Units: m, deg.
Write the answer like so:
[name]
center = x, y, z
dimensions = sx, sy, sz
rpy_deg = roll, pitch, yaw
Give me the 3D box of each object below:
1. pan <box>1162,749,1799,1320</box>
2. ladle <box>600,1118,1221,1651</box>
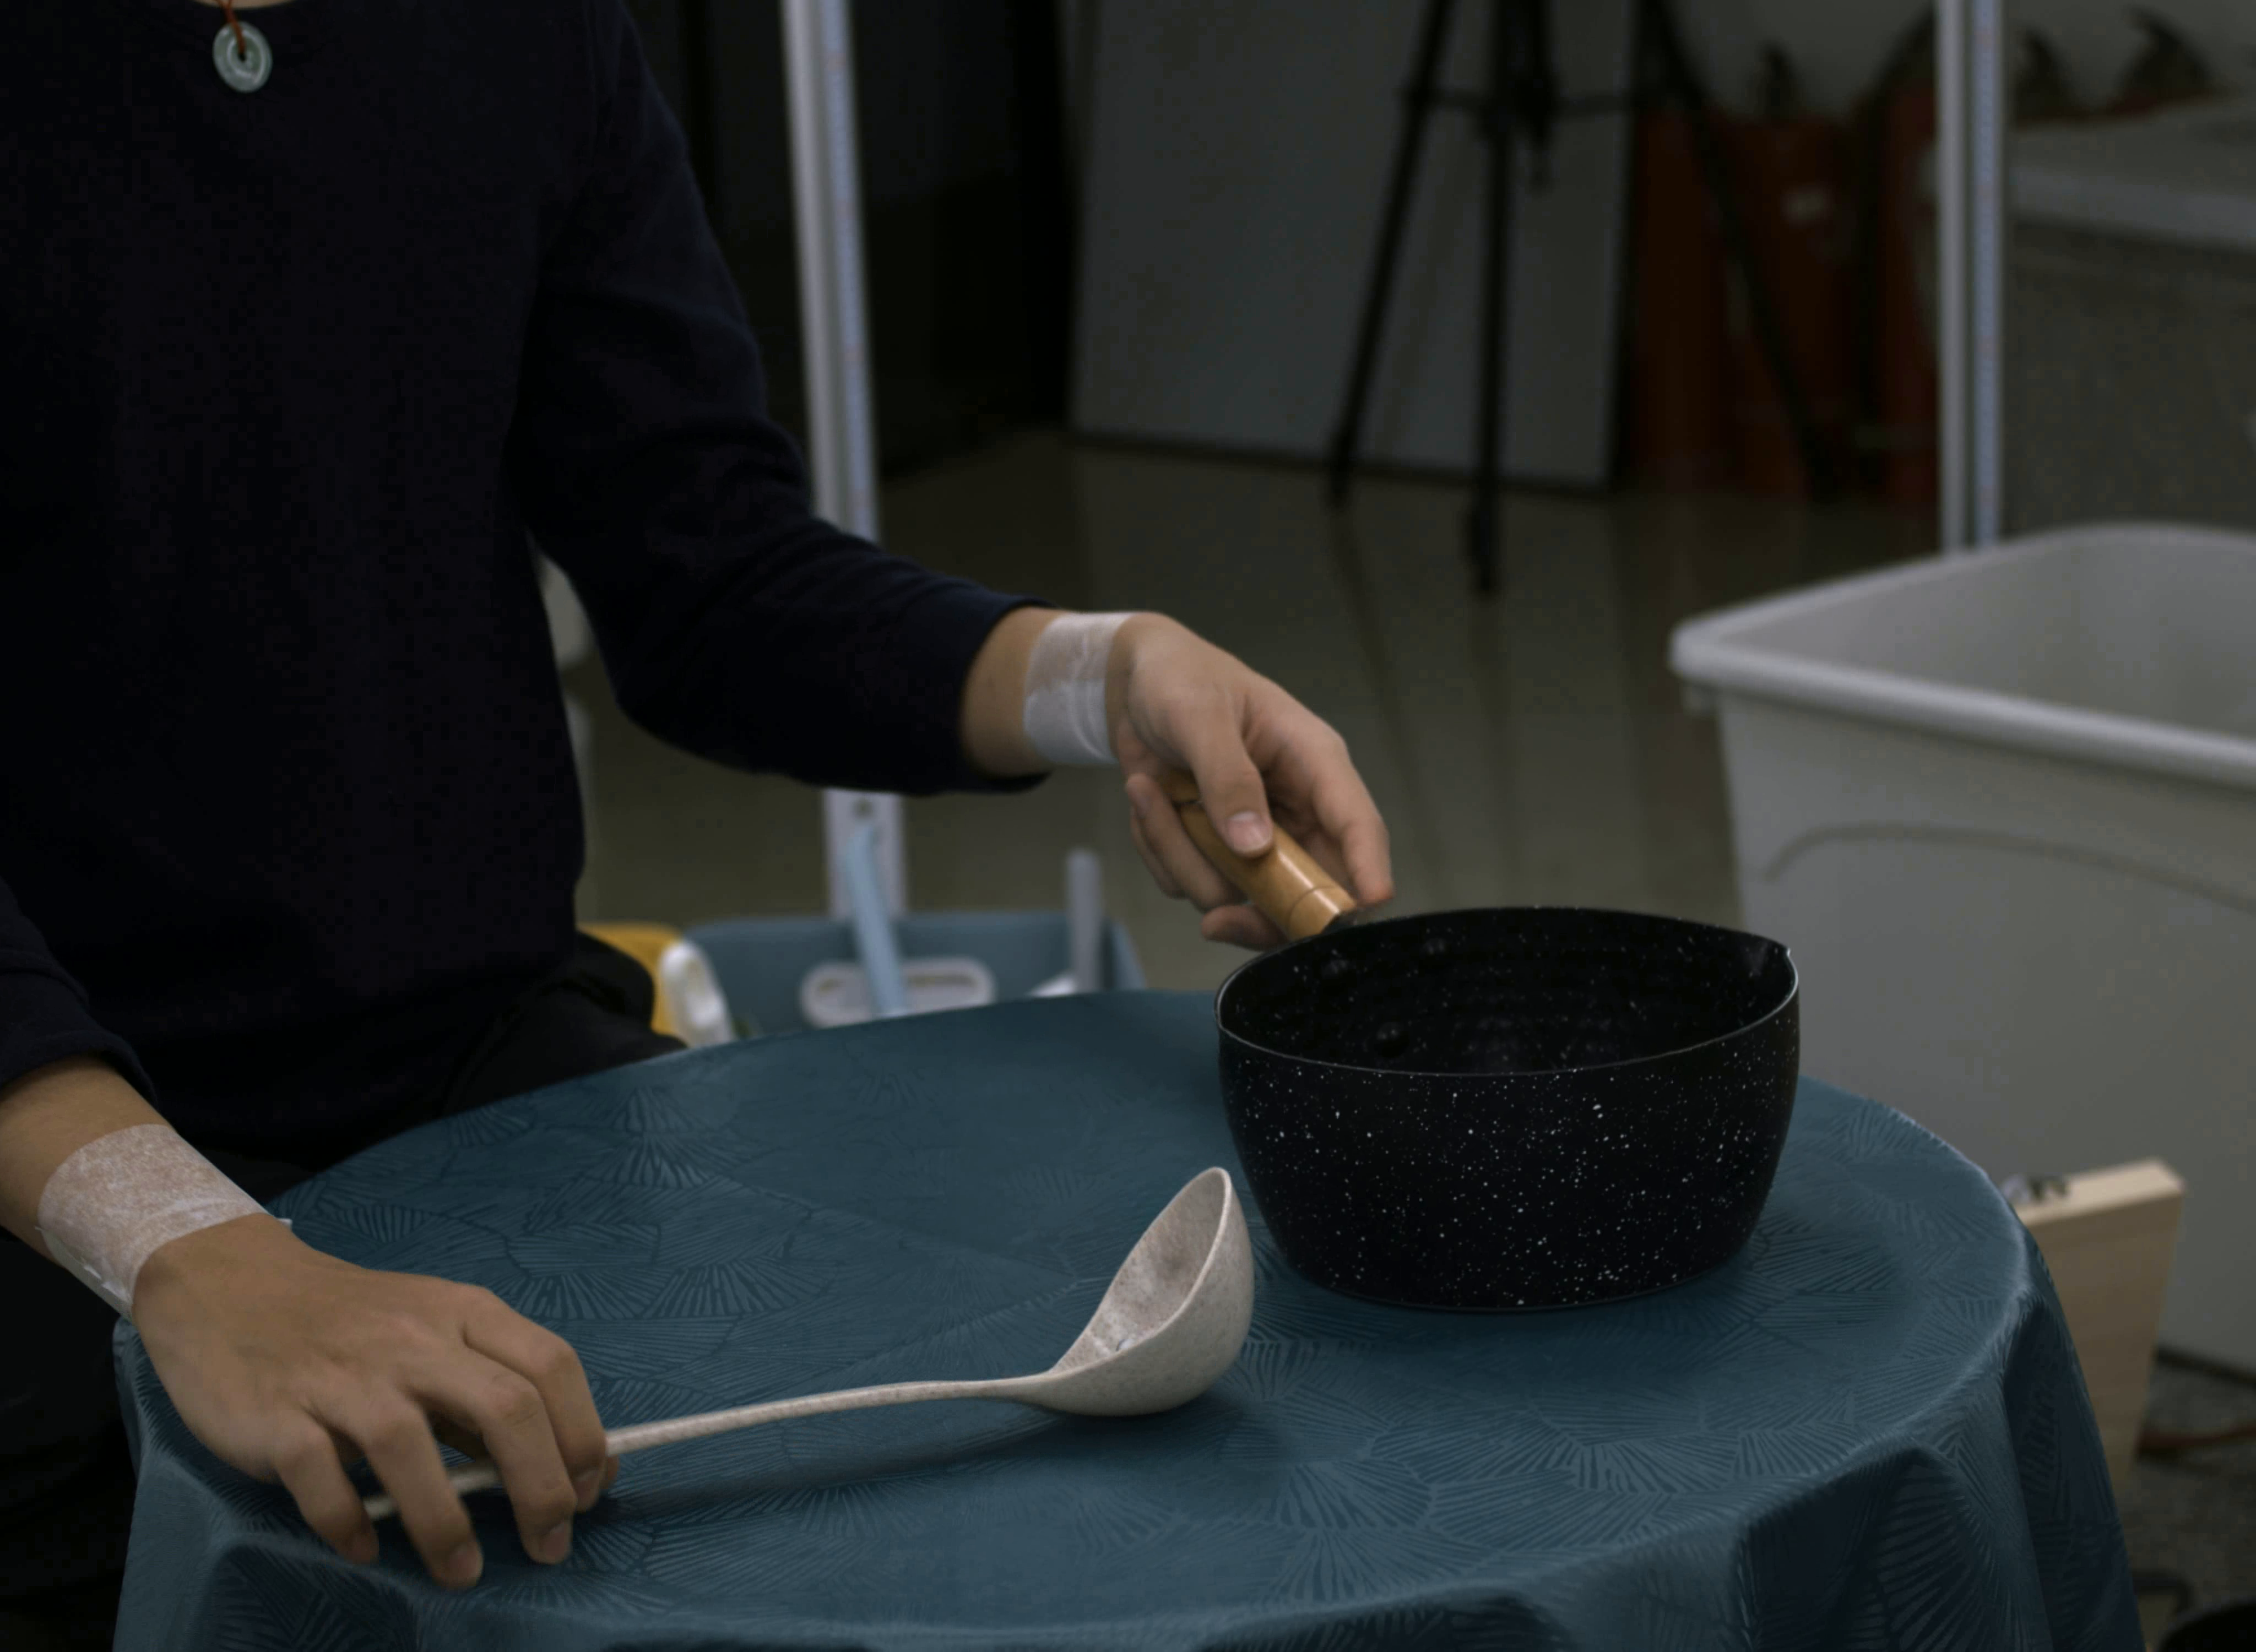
[pan]
center = 0.087, 0.062, 1.758
dimensions = 0.203, 0.109, 0.346
rpy_deg = -11, 16, -21
[ladle]
center = -0.093, 0.184, 1.567
dimensions = 0.274, 0.070, 0.088
rpy_deg = -32, -21, 6
